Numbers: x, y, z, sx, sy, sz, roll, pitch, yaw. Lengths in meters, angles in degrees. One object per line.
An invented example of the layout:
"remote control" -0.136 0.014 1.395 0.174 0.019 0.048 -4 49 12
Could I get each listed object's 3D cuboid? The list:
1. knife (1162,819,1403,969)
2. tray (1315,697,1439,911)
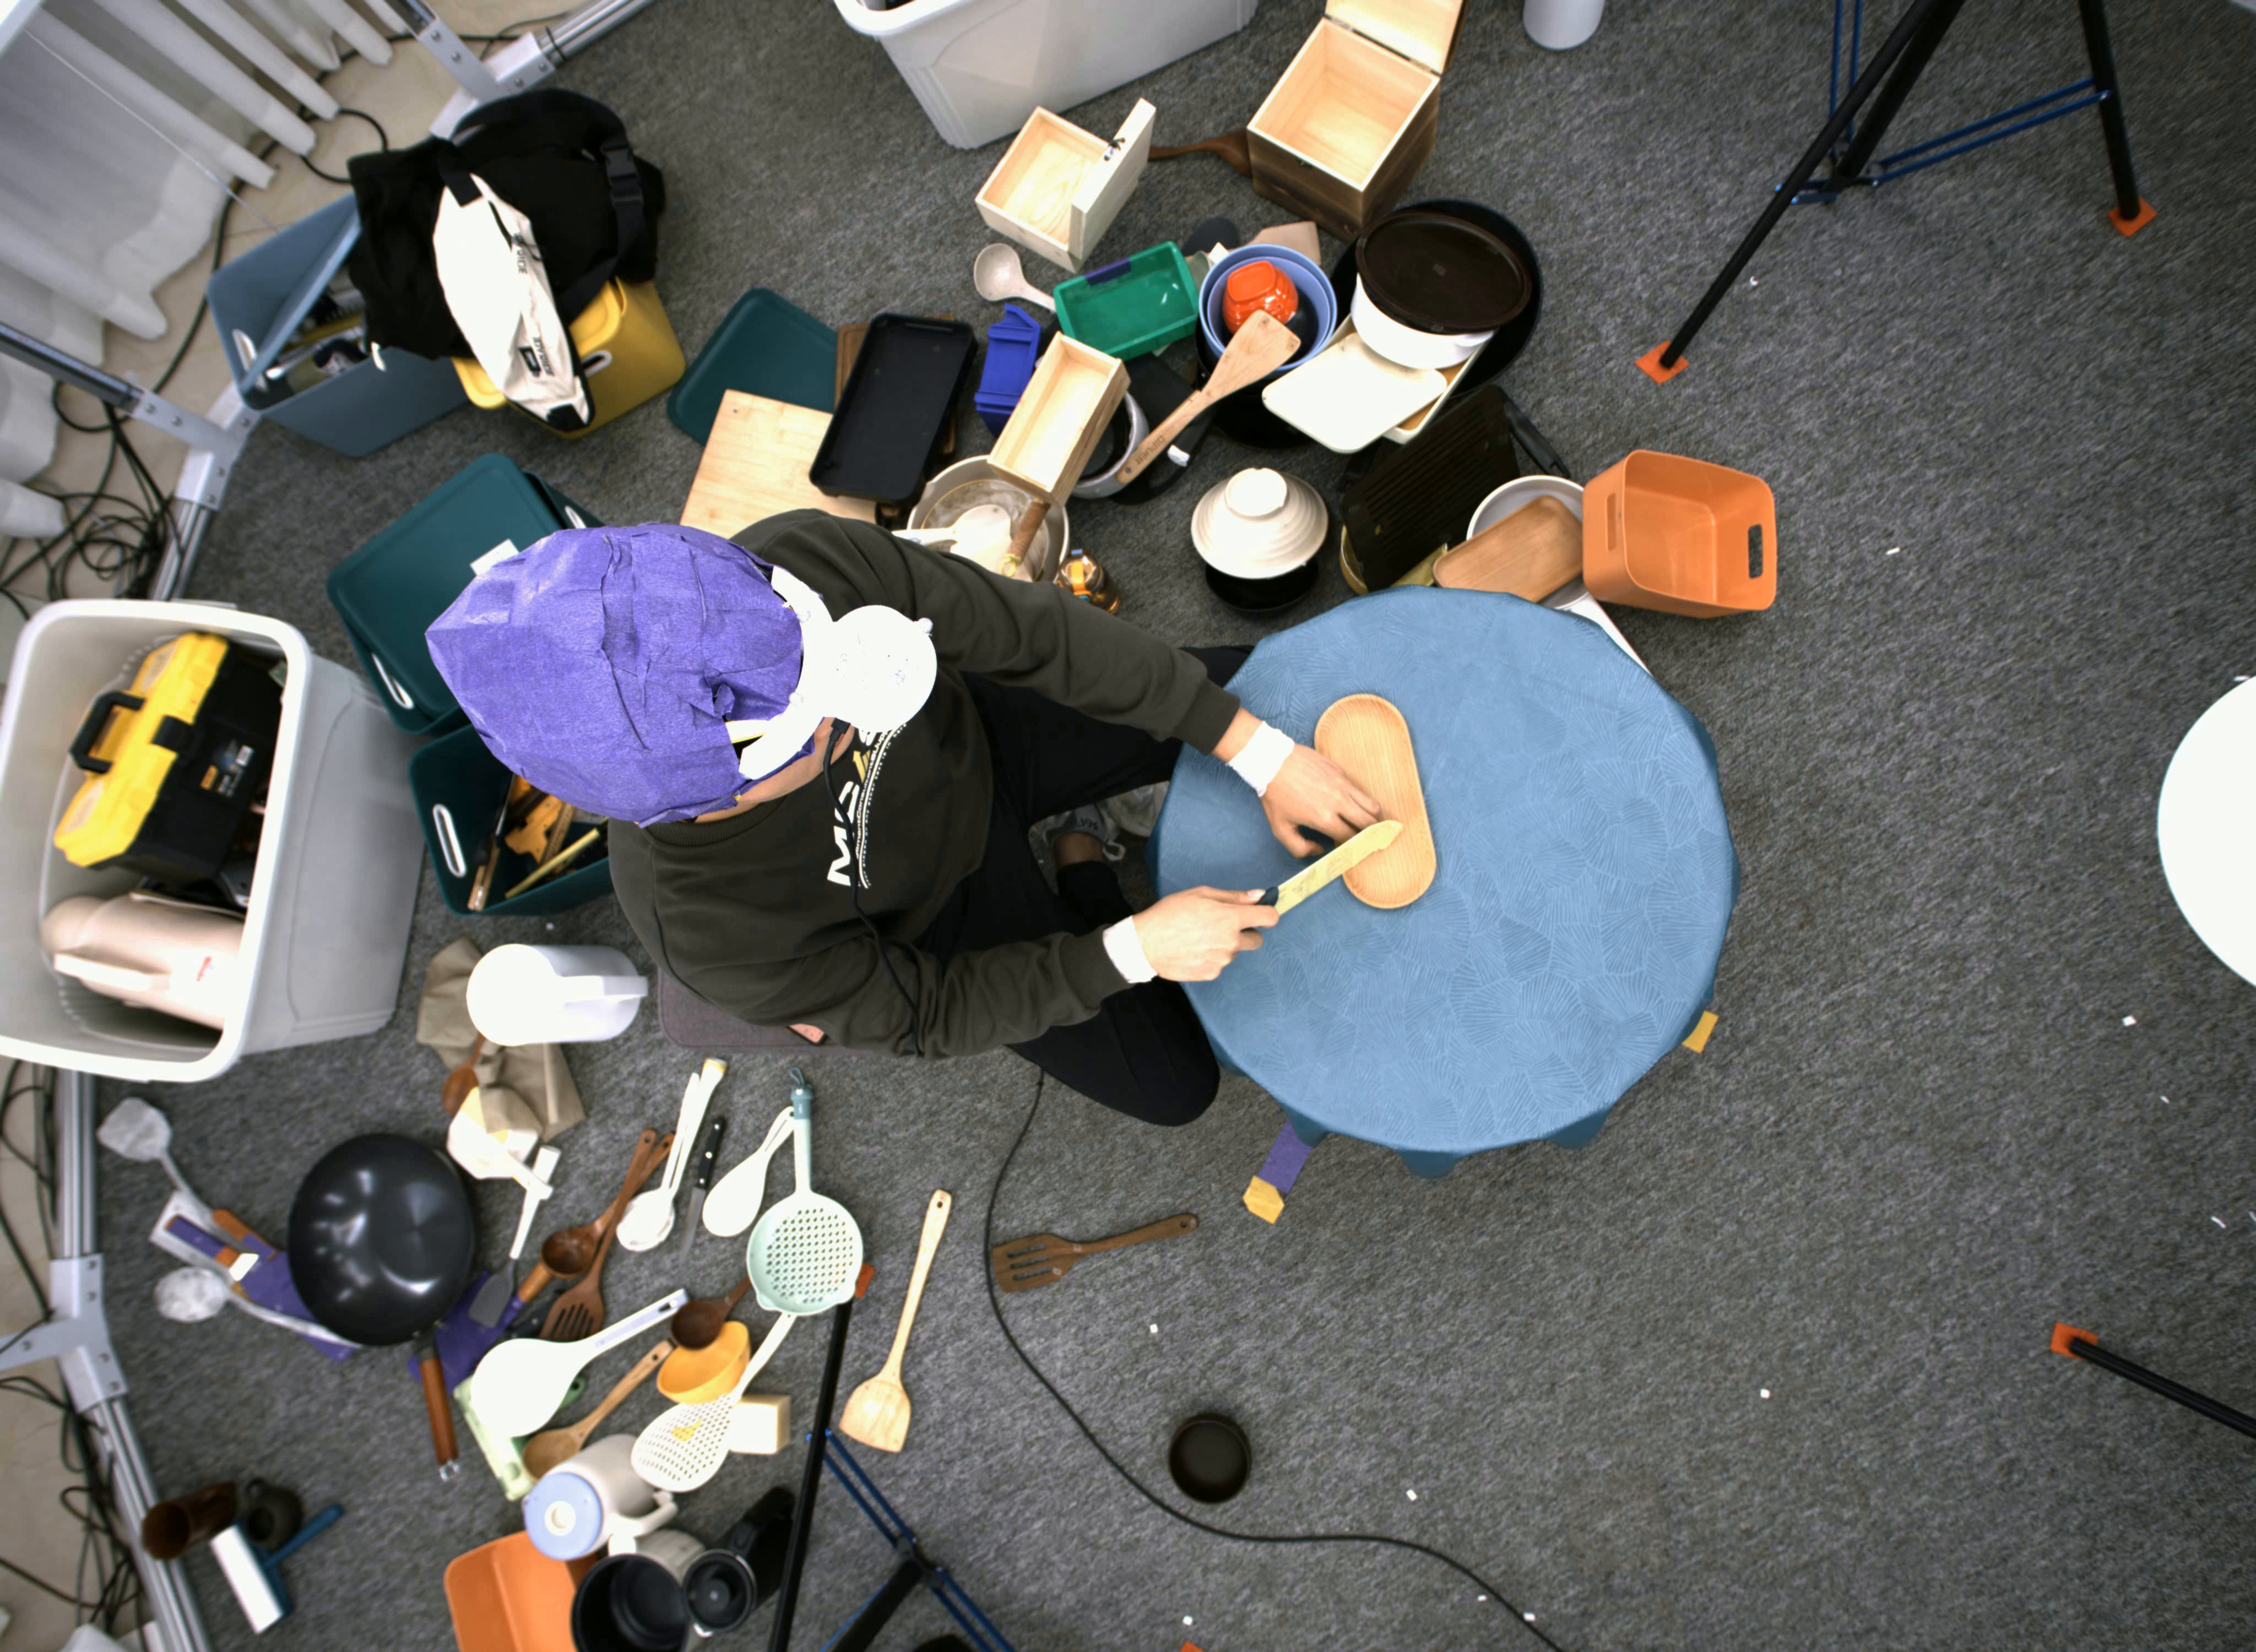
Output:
"knife" 0.161 0.068 1.411 0.288 0.082 0.027 -30 63 -6
"tray" 0.263 -0.025 1.459 0.102 0.020 0.230 -13 86 12
